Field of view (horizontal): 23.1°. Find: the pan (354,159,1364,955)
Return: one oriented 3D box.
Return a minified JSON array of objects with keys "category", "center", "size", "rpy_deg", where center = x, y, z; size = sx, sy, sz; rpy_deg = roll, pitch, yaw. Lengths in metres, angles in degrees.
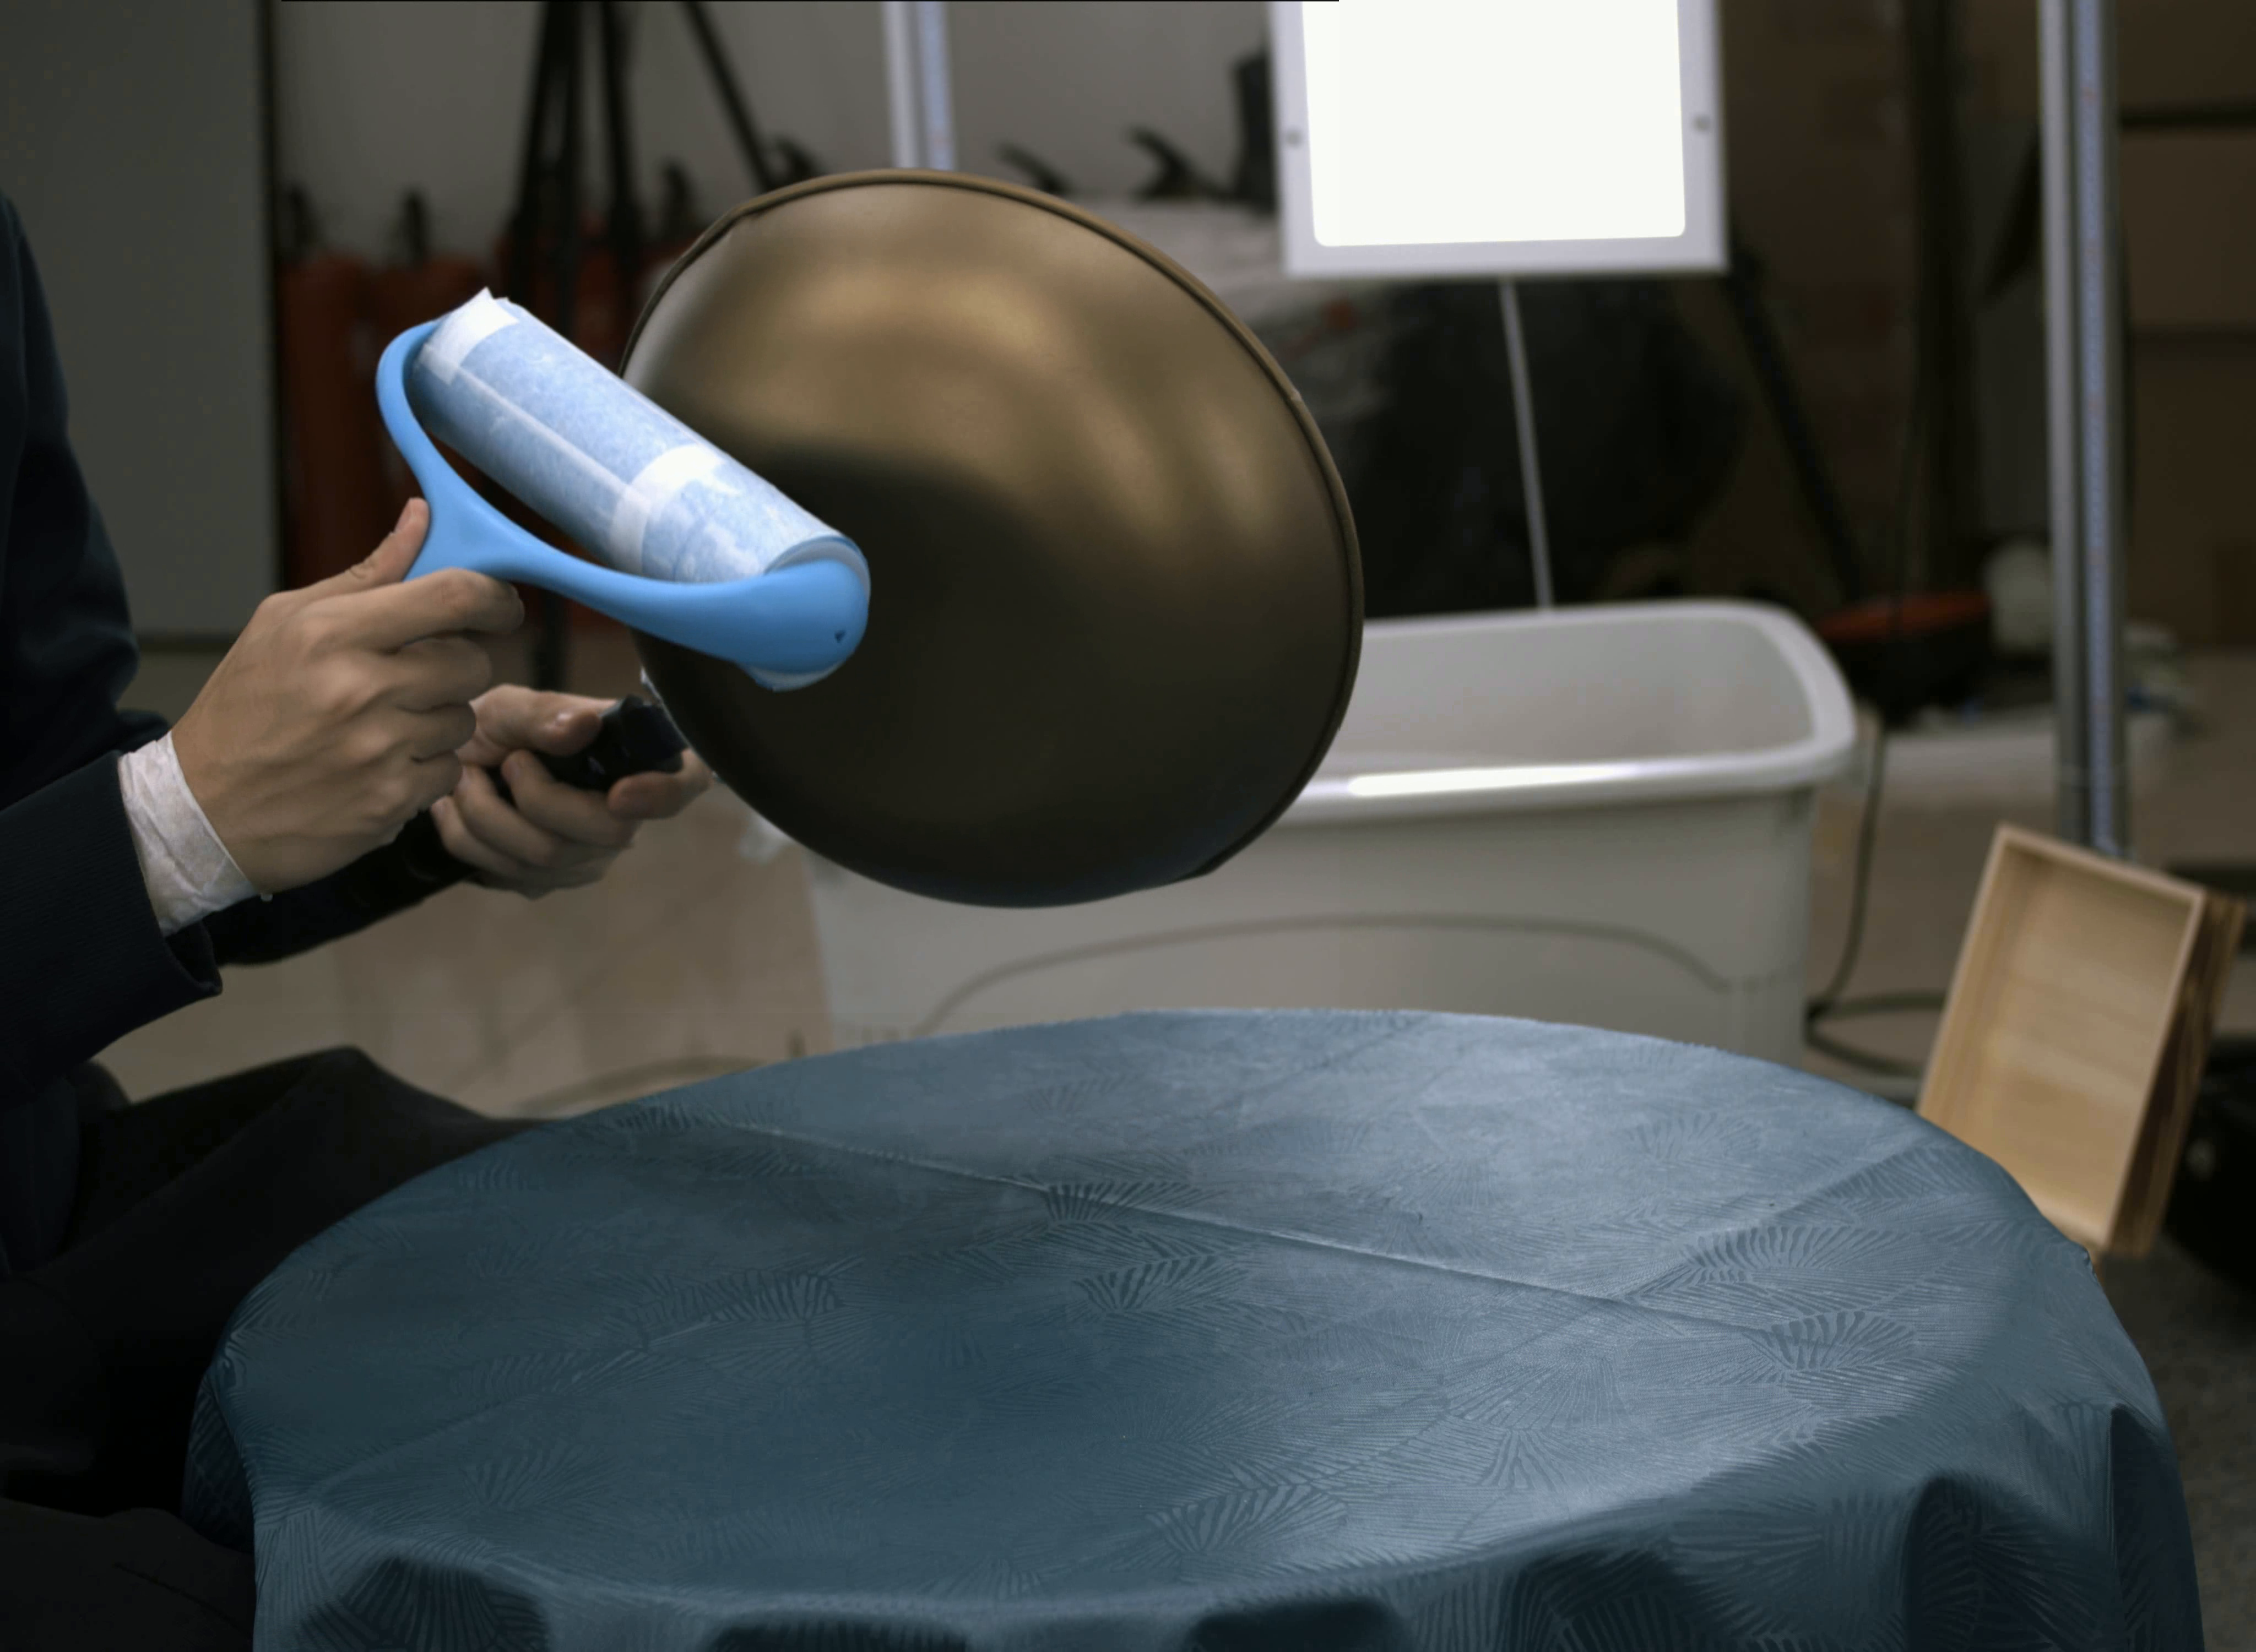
[{"category":"pan","center":[-0.131,-0.044,1.917],"size":[0.473,0.287,0.085],"rpy_deg":[-28,14,35]}]

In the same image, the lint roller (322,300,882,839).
[{"category":"lint roller","center":[-0.201,-0.074,1.802],"size":[0.178,0.067,0.232],"rpy_deg":[-45,50,-15]}]
